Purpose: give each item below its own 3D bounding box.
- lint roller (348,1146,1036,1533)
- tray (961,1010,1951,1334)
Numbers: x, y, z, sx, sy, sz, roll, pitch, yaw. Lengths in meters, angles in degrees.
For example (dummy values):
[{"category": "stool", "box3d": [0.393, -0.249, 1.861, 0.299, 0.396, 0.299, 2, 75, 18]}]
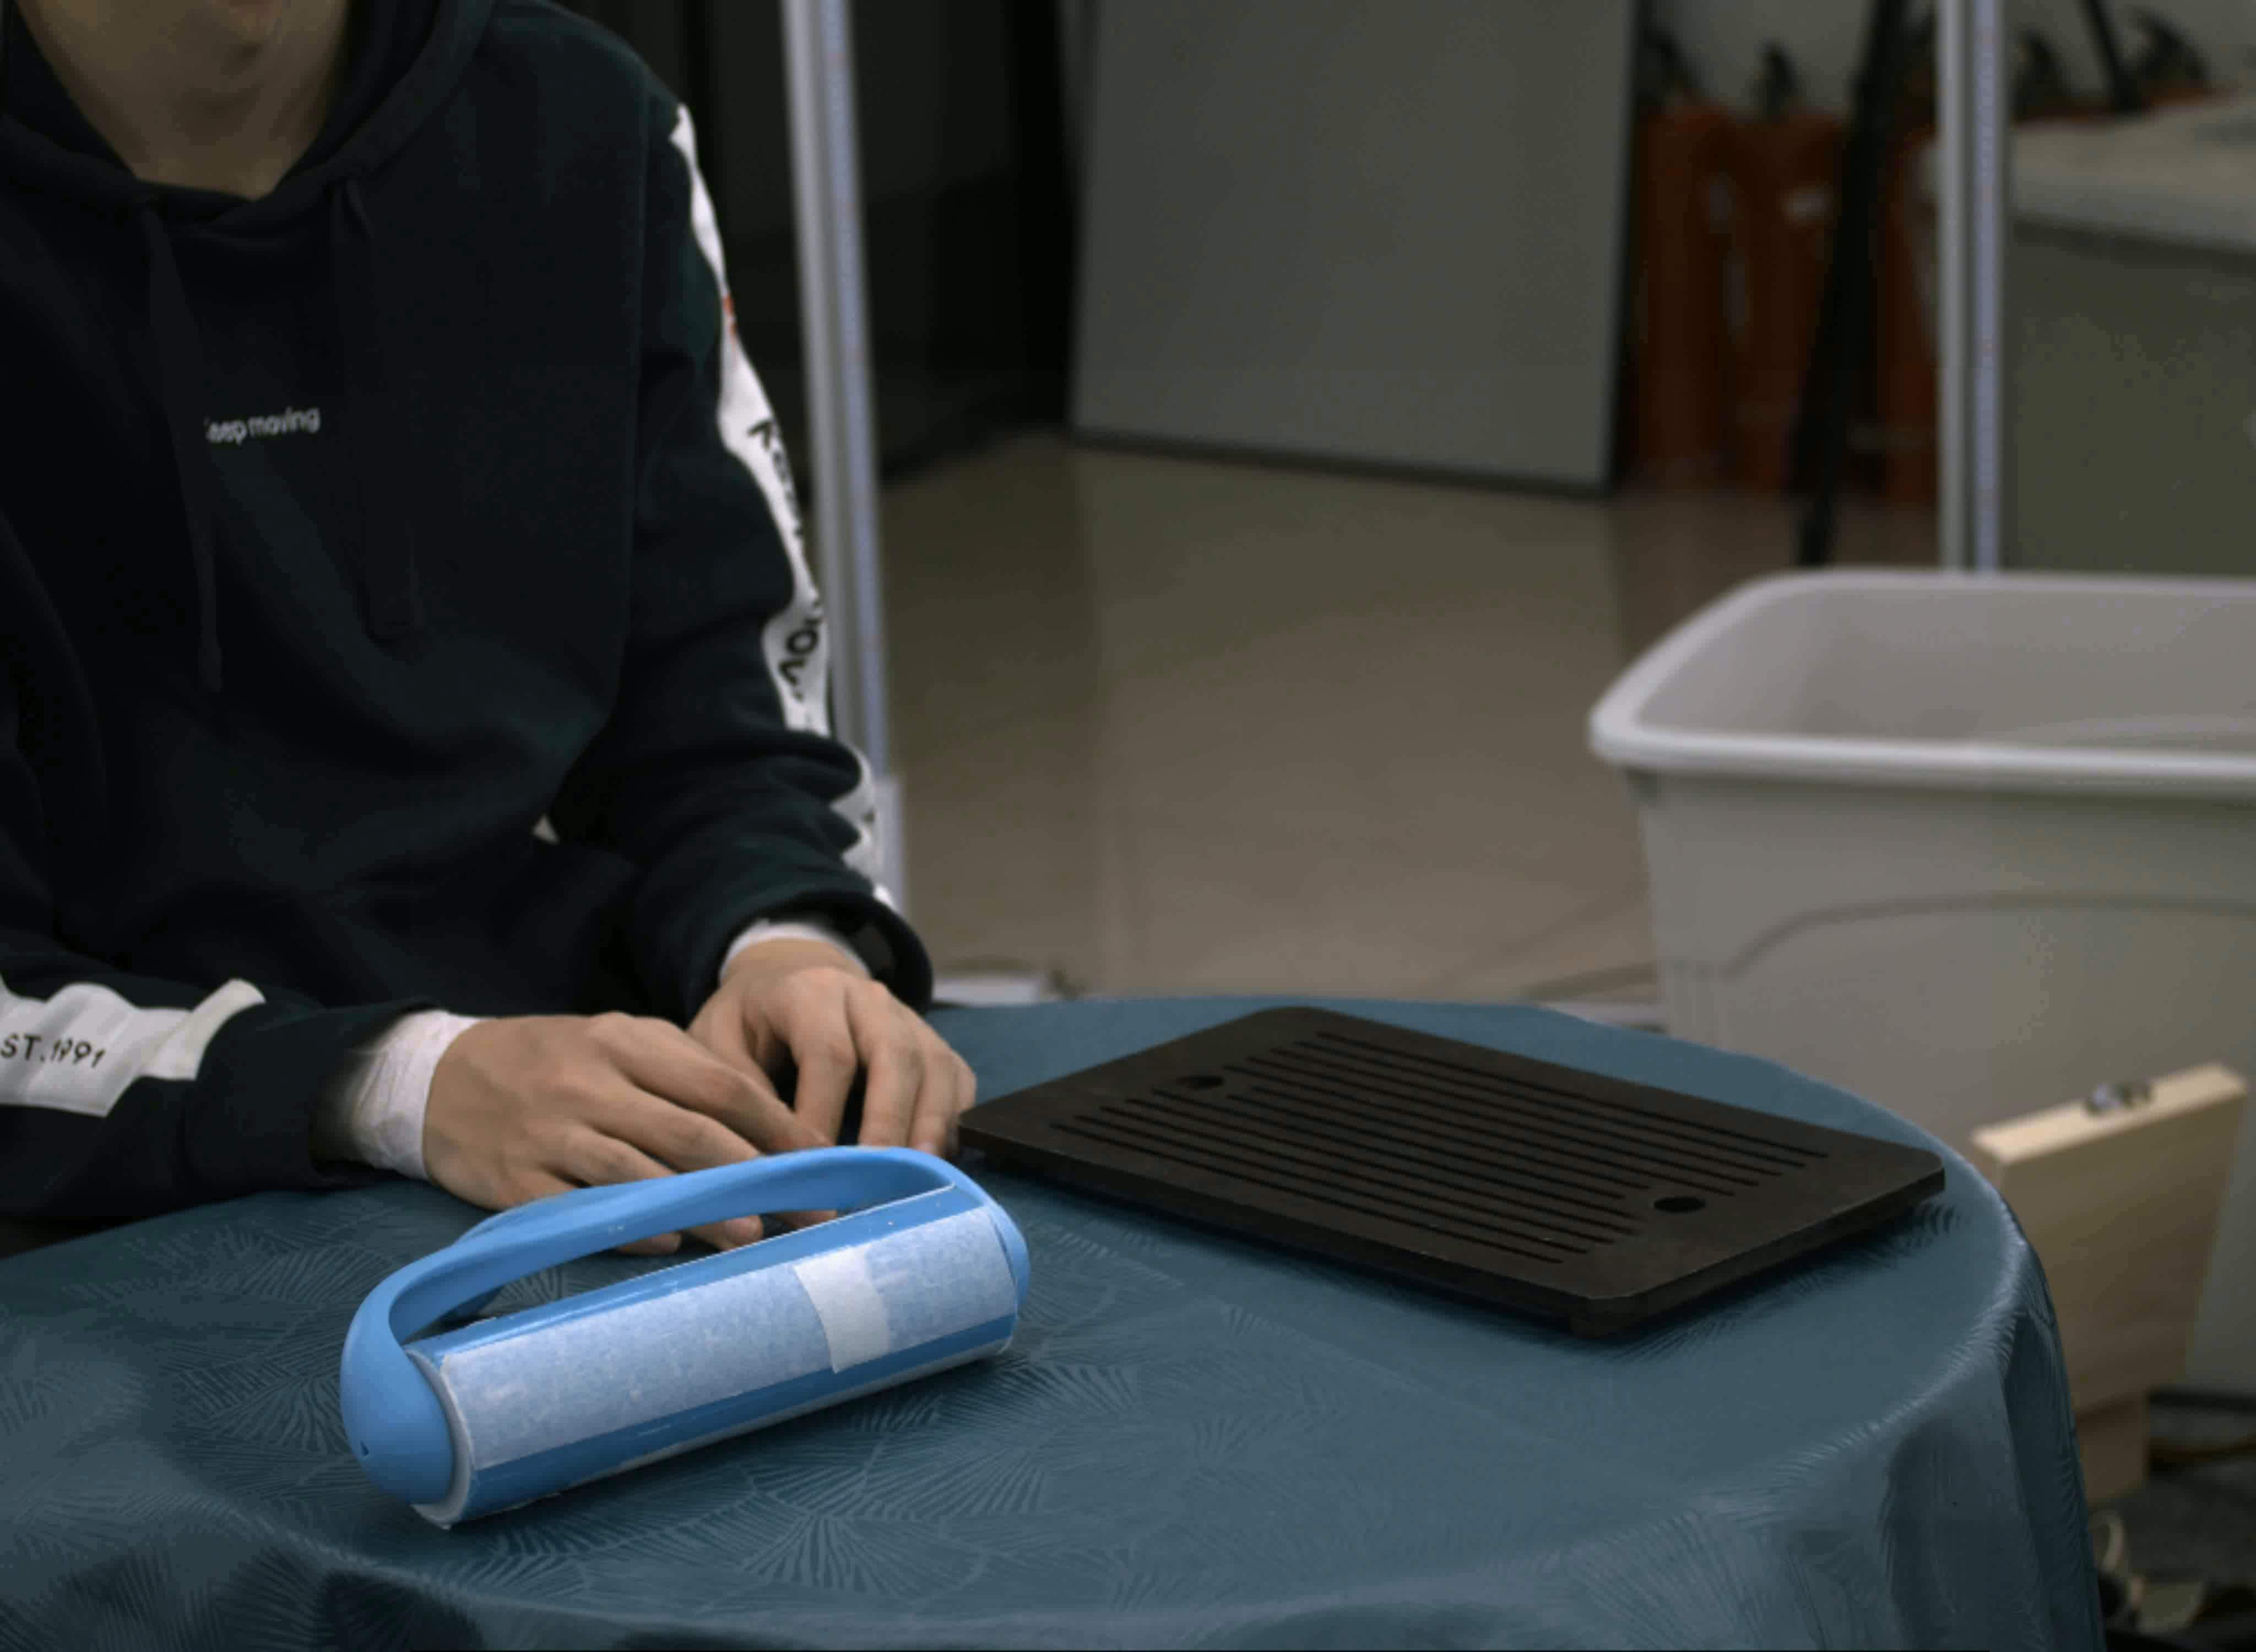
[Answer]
[{"category": "lint roller", "box3d": [-0.159, 0.142, 1.612, 0.224, 0.068, 0.182, -17, 20, -36]}, {"category": "tray", "box3d": [0.102, 0.109, 1.752, 0.166, 0.019, 0.309, -16, 18, -40]}]
